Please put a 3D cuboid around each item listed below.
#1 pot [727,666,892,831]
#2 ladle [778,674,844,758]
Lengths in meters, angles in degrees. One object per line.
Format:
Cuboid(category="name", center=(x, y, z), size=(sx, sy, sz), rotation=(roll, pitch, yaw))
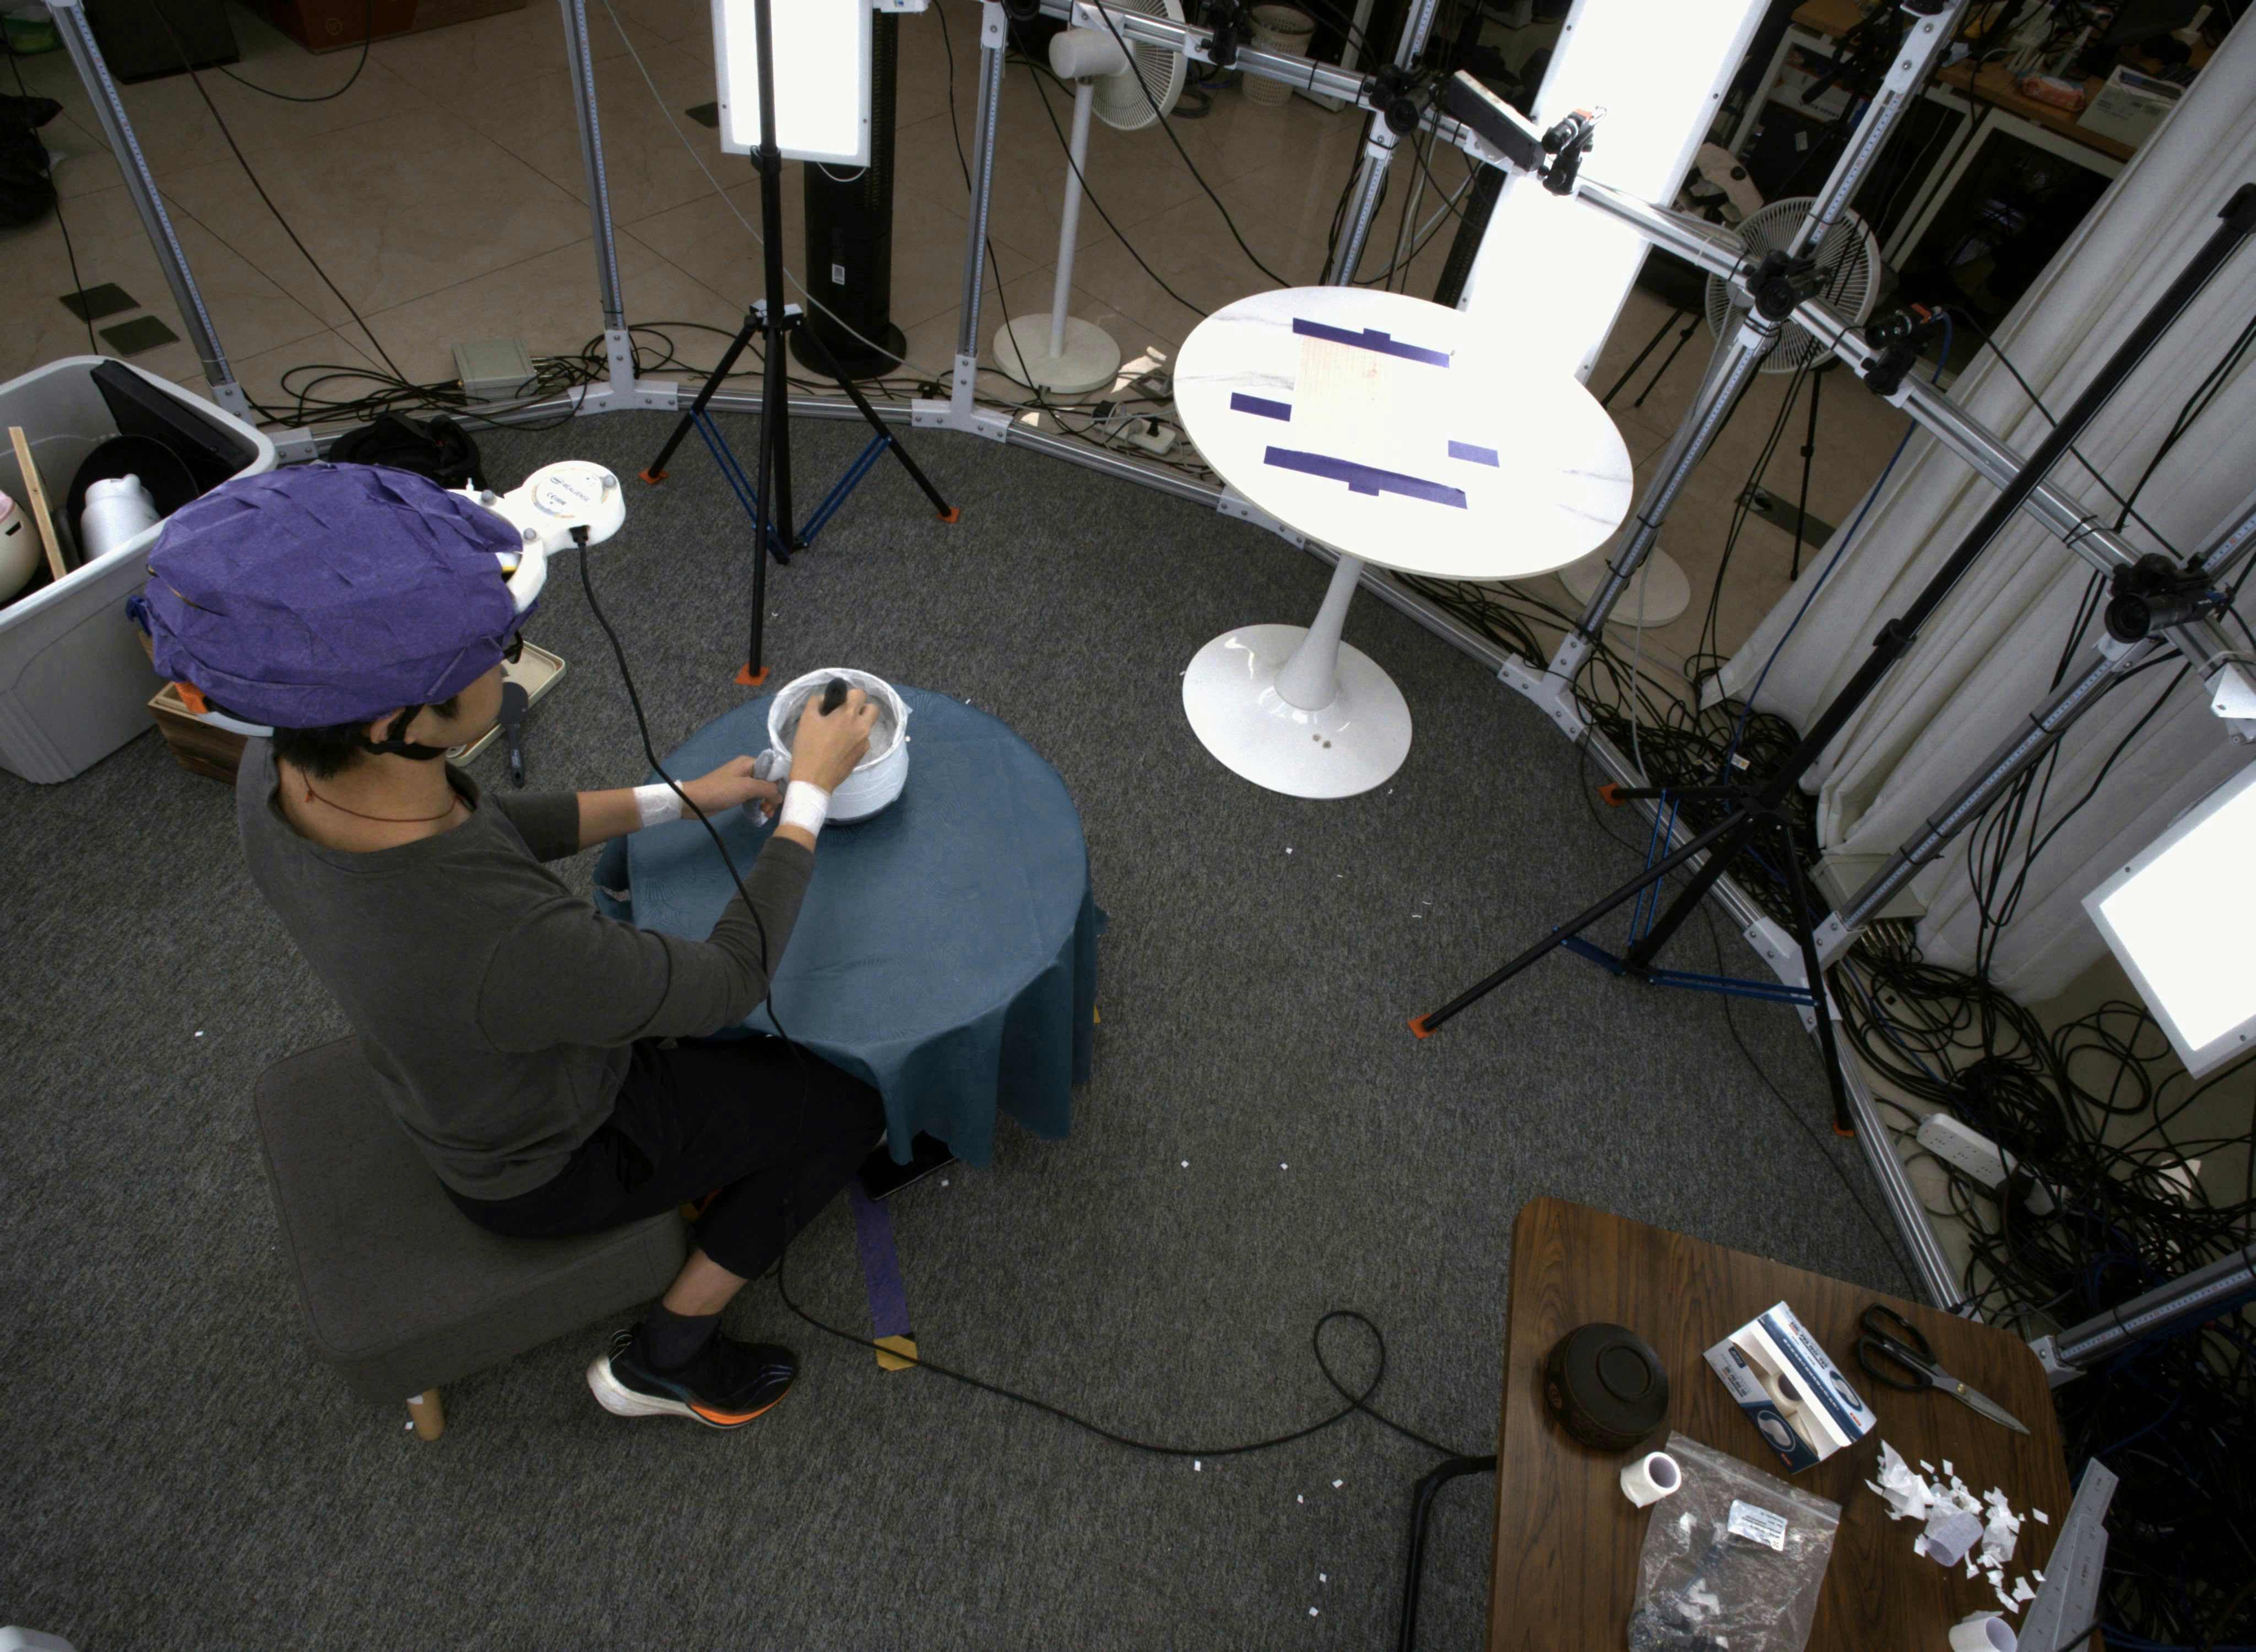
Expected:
Cuboid(category="pot", center=(-0.424, -0.087, 1.709), size=(0.234, 0.139, 0.174), rotation=(-34, 67, -29))
Cuboid(category="ladle", center=(-0.382, -0.147, 1.578), size=(0.086, 0.312, 0.064), rotation=(9, 74, -14))
